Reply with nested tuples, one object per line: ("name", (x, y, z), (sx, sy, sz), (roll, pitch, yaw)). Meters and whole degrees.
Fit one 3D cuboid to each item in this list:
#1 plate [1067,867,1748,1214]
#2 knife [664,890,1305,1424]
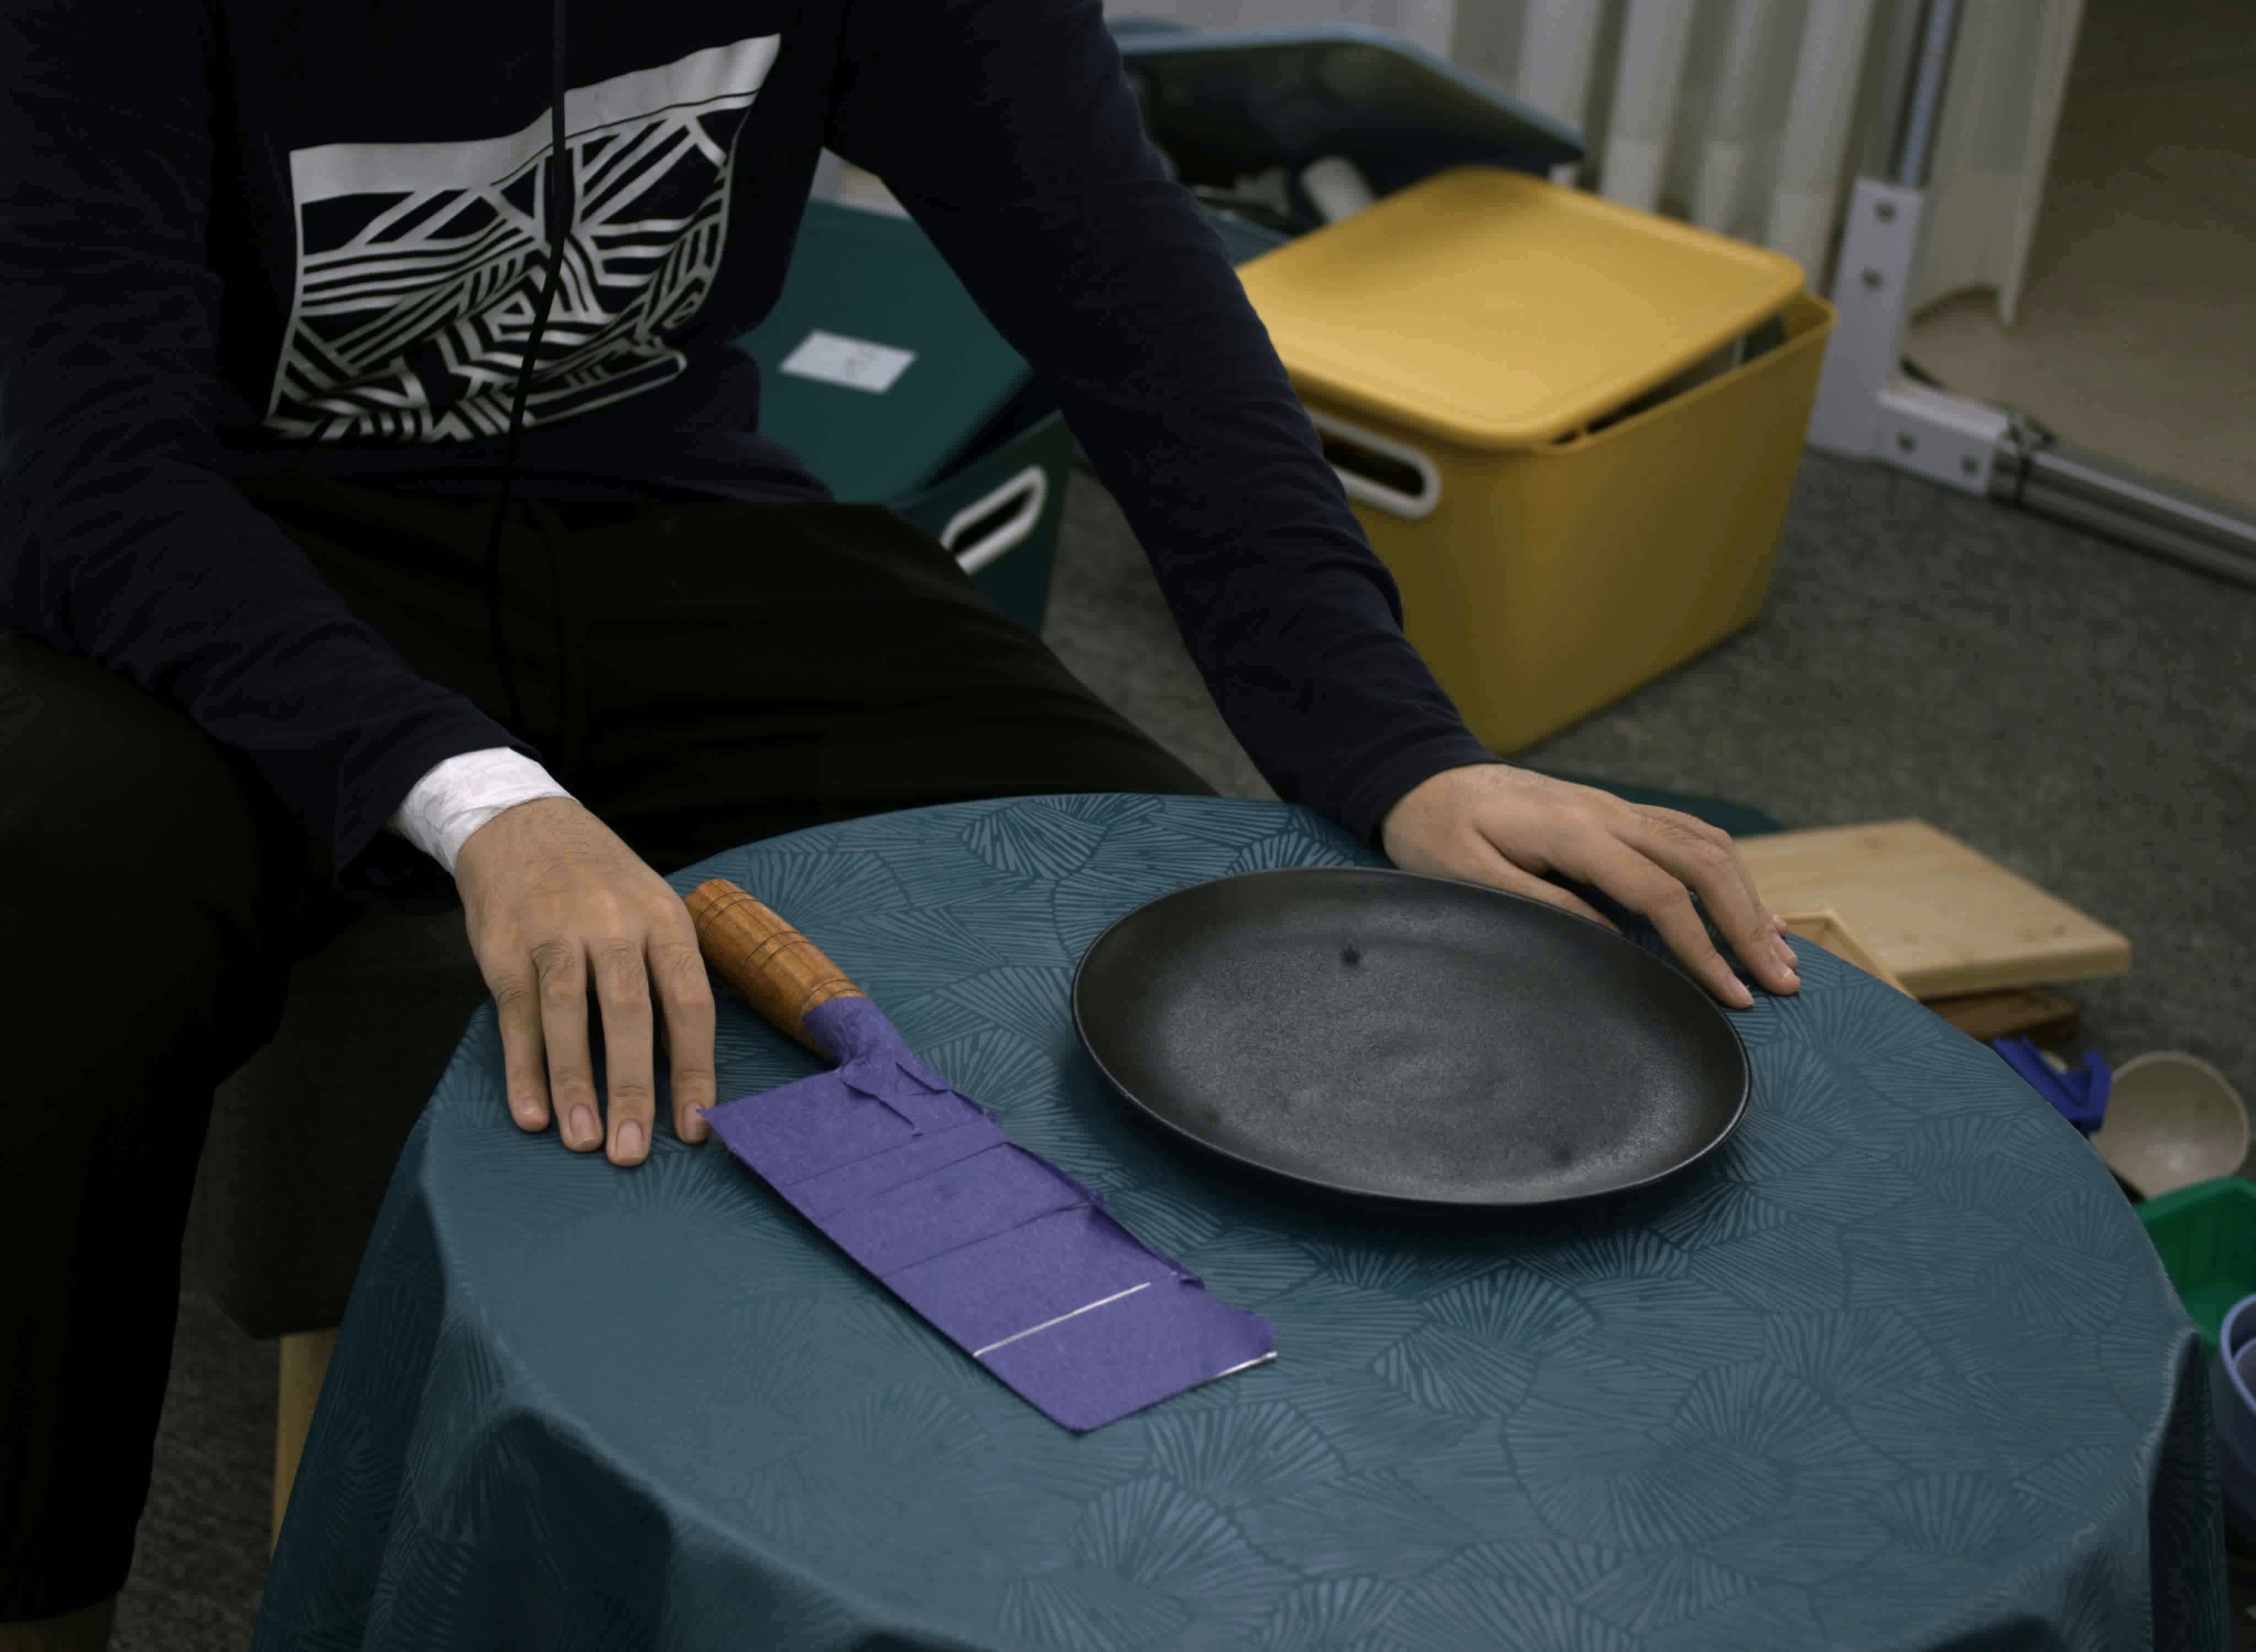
("plate", (0.098, 0.080, 1.889), (0.243, 0.023, 0.246), (5, 27, -3))
("knife", (-0.078, 0.107, 1.791), (0.103, 0.032, 0.318), (-16, 35, -37))
